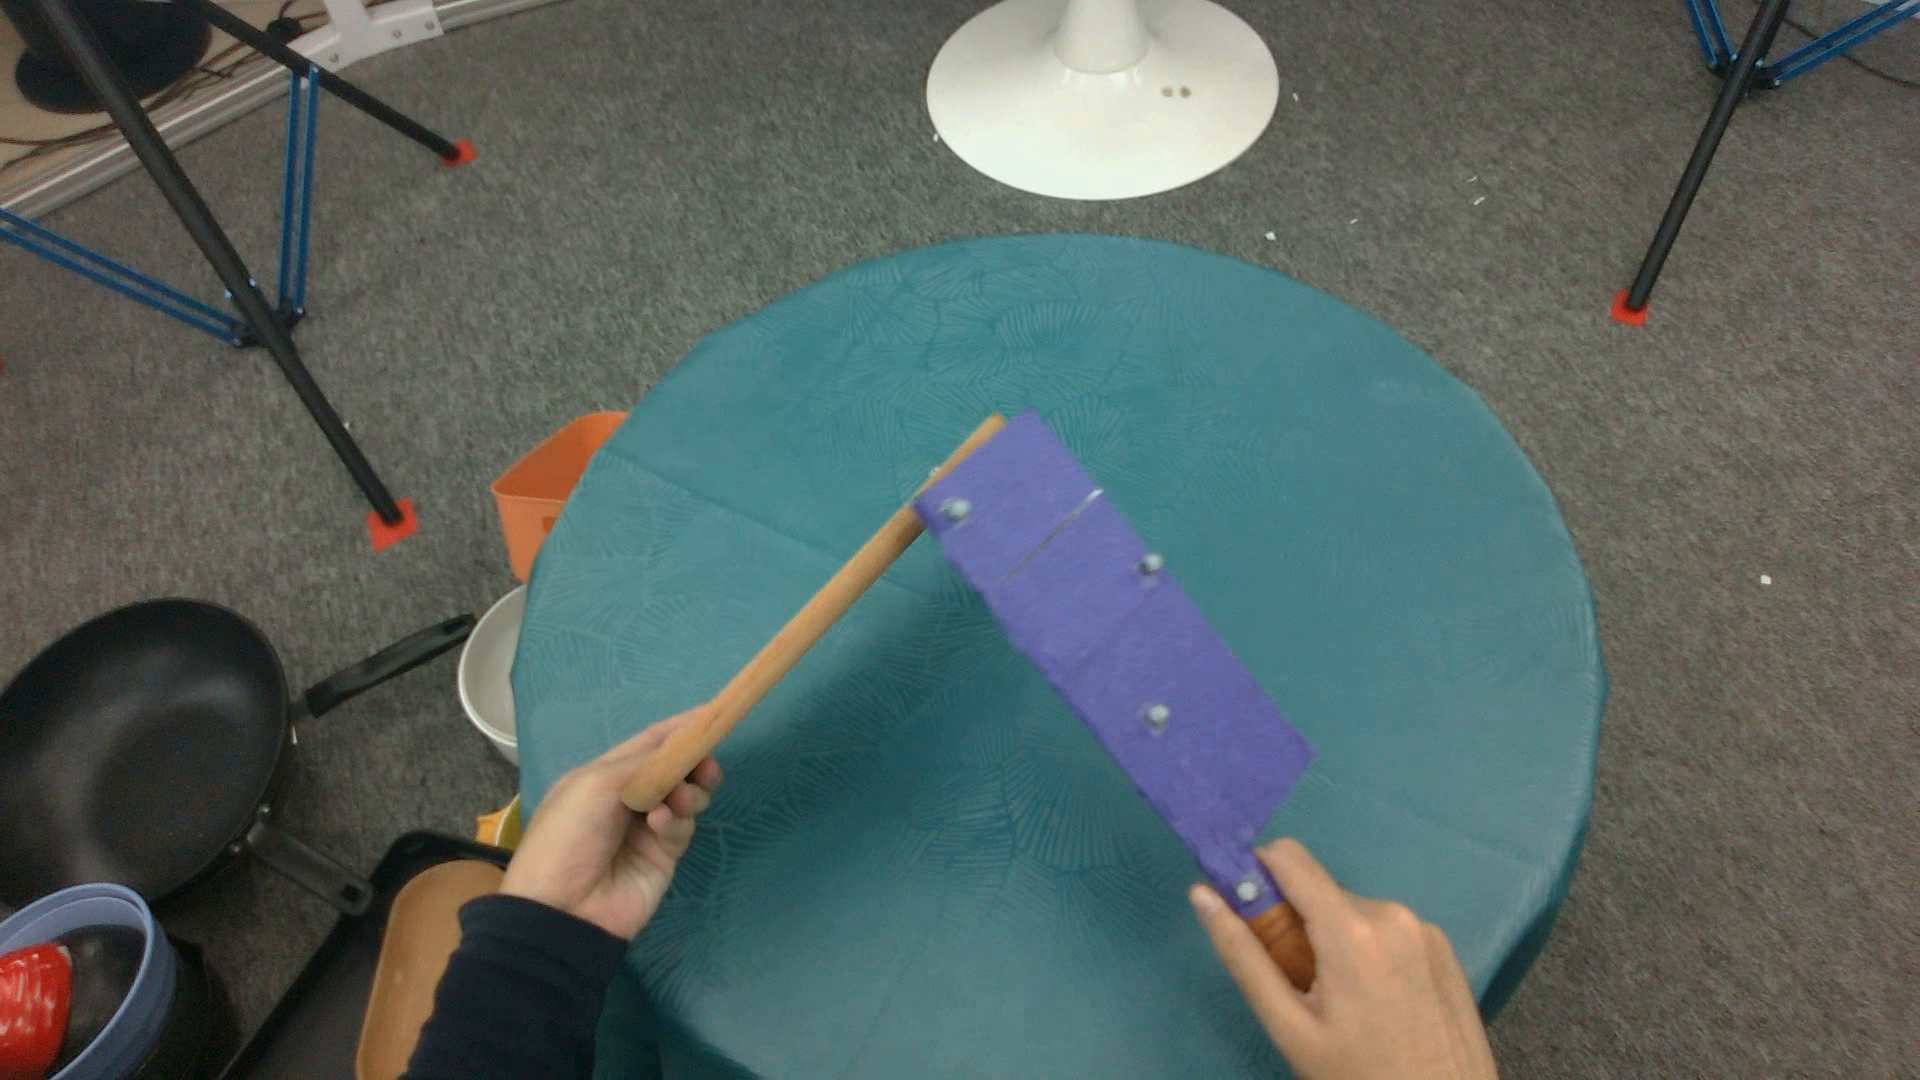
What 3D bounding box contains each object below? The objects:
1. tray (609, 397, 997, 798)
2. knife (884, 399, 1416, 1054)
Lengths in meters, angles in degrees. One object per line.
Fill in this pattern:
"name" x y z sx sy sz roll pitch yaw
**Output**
"tray" -0.074 0.030 0.668 0.023 0.130 0.251 42 74 0
"knife" 0.099 0.071 0.593 0.315 0.032 0.104 50 52 -2
